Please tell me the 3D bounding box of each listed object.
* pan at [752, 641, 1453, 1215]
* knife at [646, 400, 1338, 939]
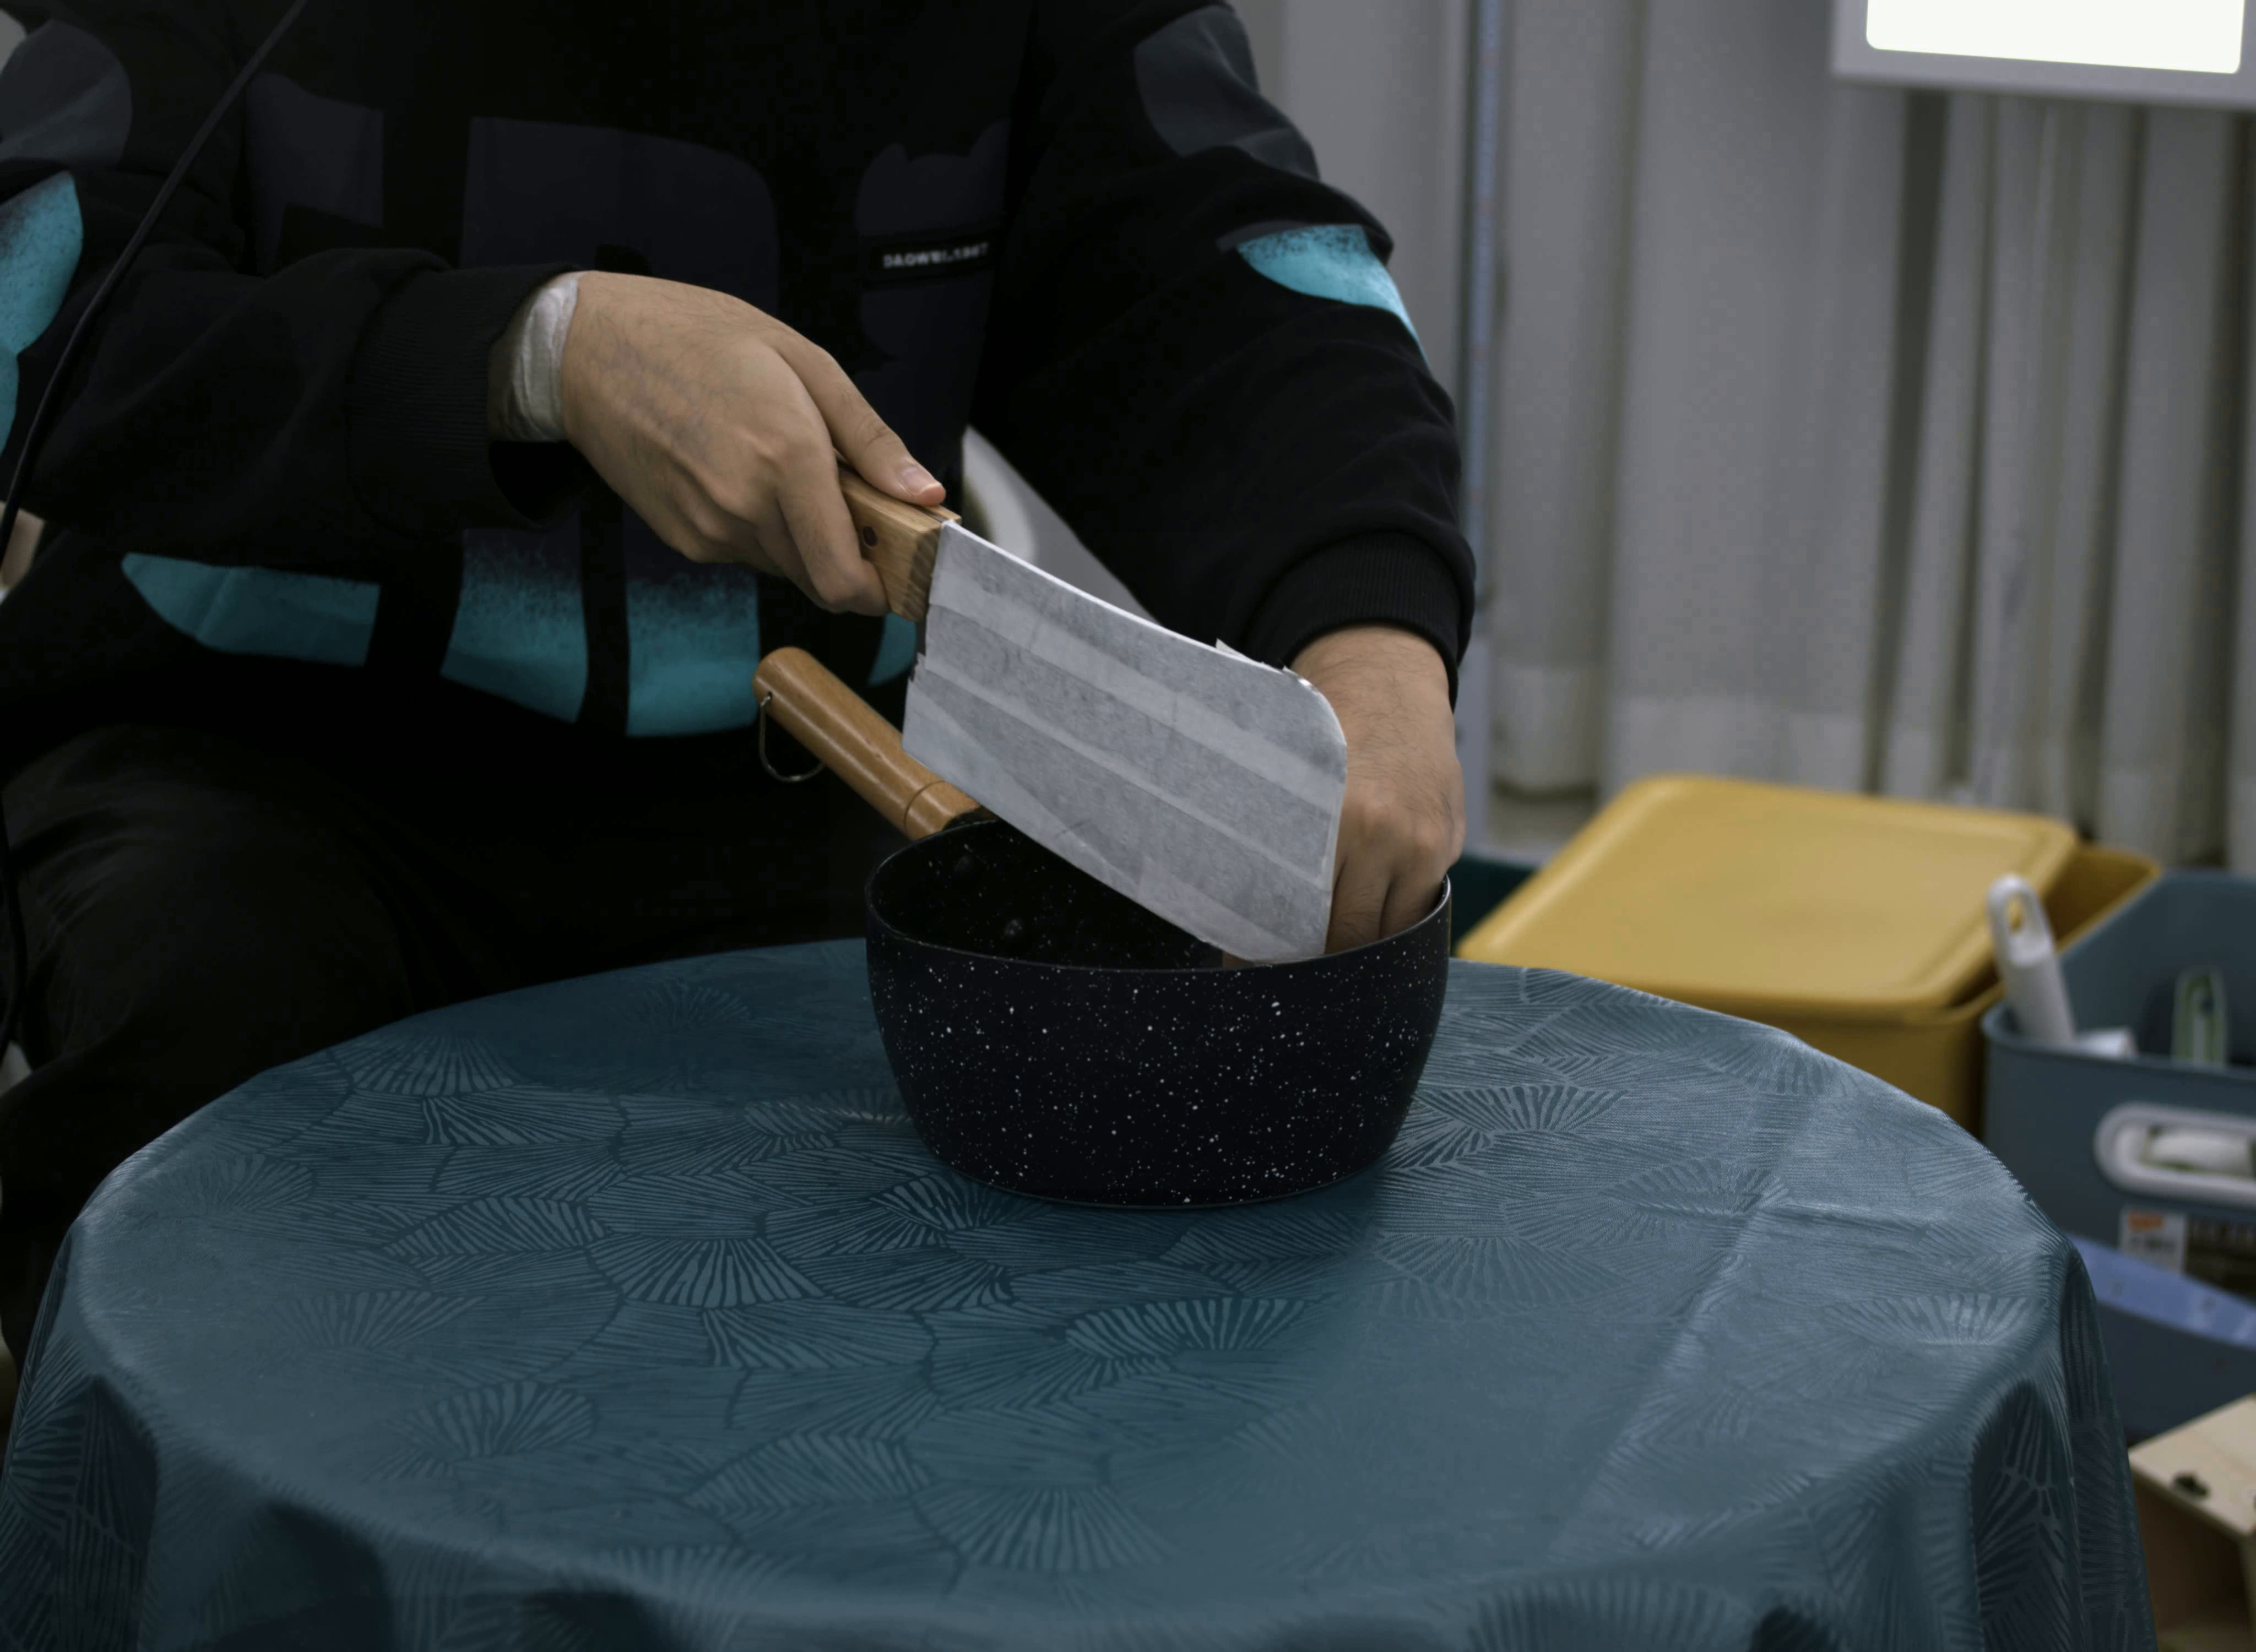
[{"bbox_3d":[-0.034,0.028,1.719,0.208,0.109,0.338,-11,21,-32],"label":"pan"},{"bbox_3d":[-0.045,-0.059,1.667,0.311,0.115,0.022,33,36,32],"label":"knife"}]
